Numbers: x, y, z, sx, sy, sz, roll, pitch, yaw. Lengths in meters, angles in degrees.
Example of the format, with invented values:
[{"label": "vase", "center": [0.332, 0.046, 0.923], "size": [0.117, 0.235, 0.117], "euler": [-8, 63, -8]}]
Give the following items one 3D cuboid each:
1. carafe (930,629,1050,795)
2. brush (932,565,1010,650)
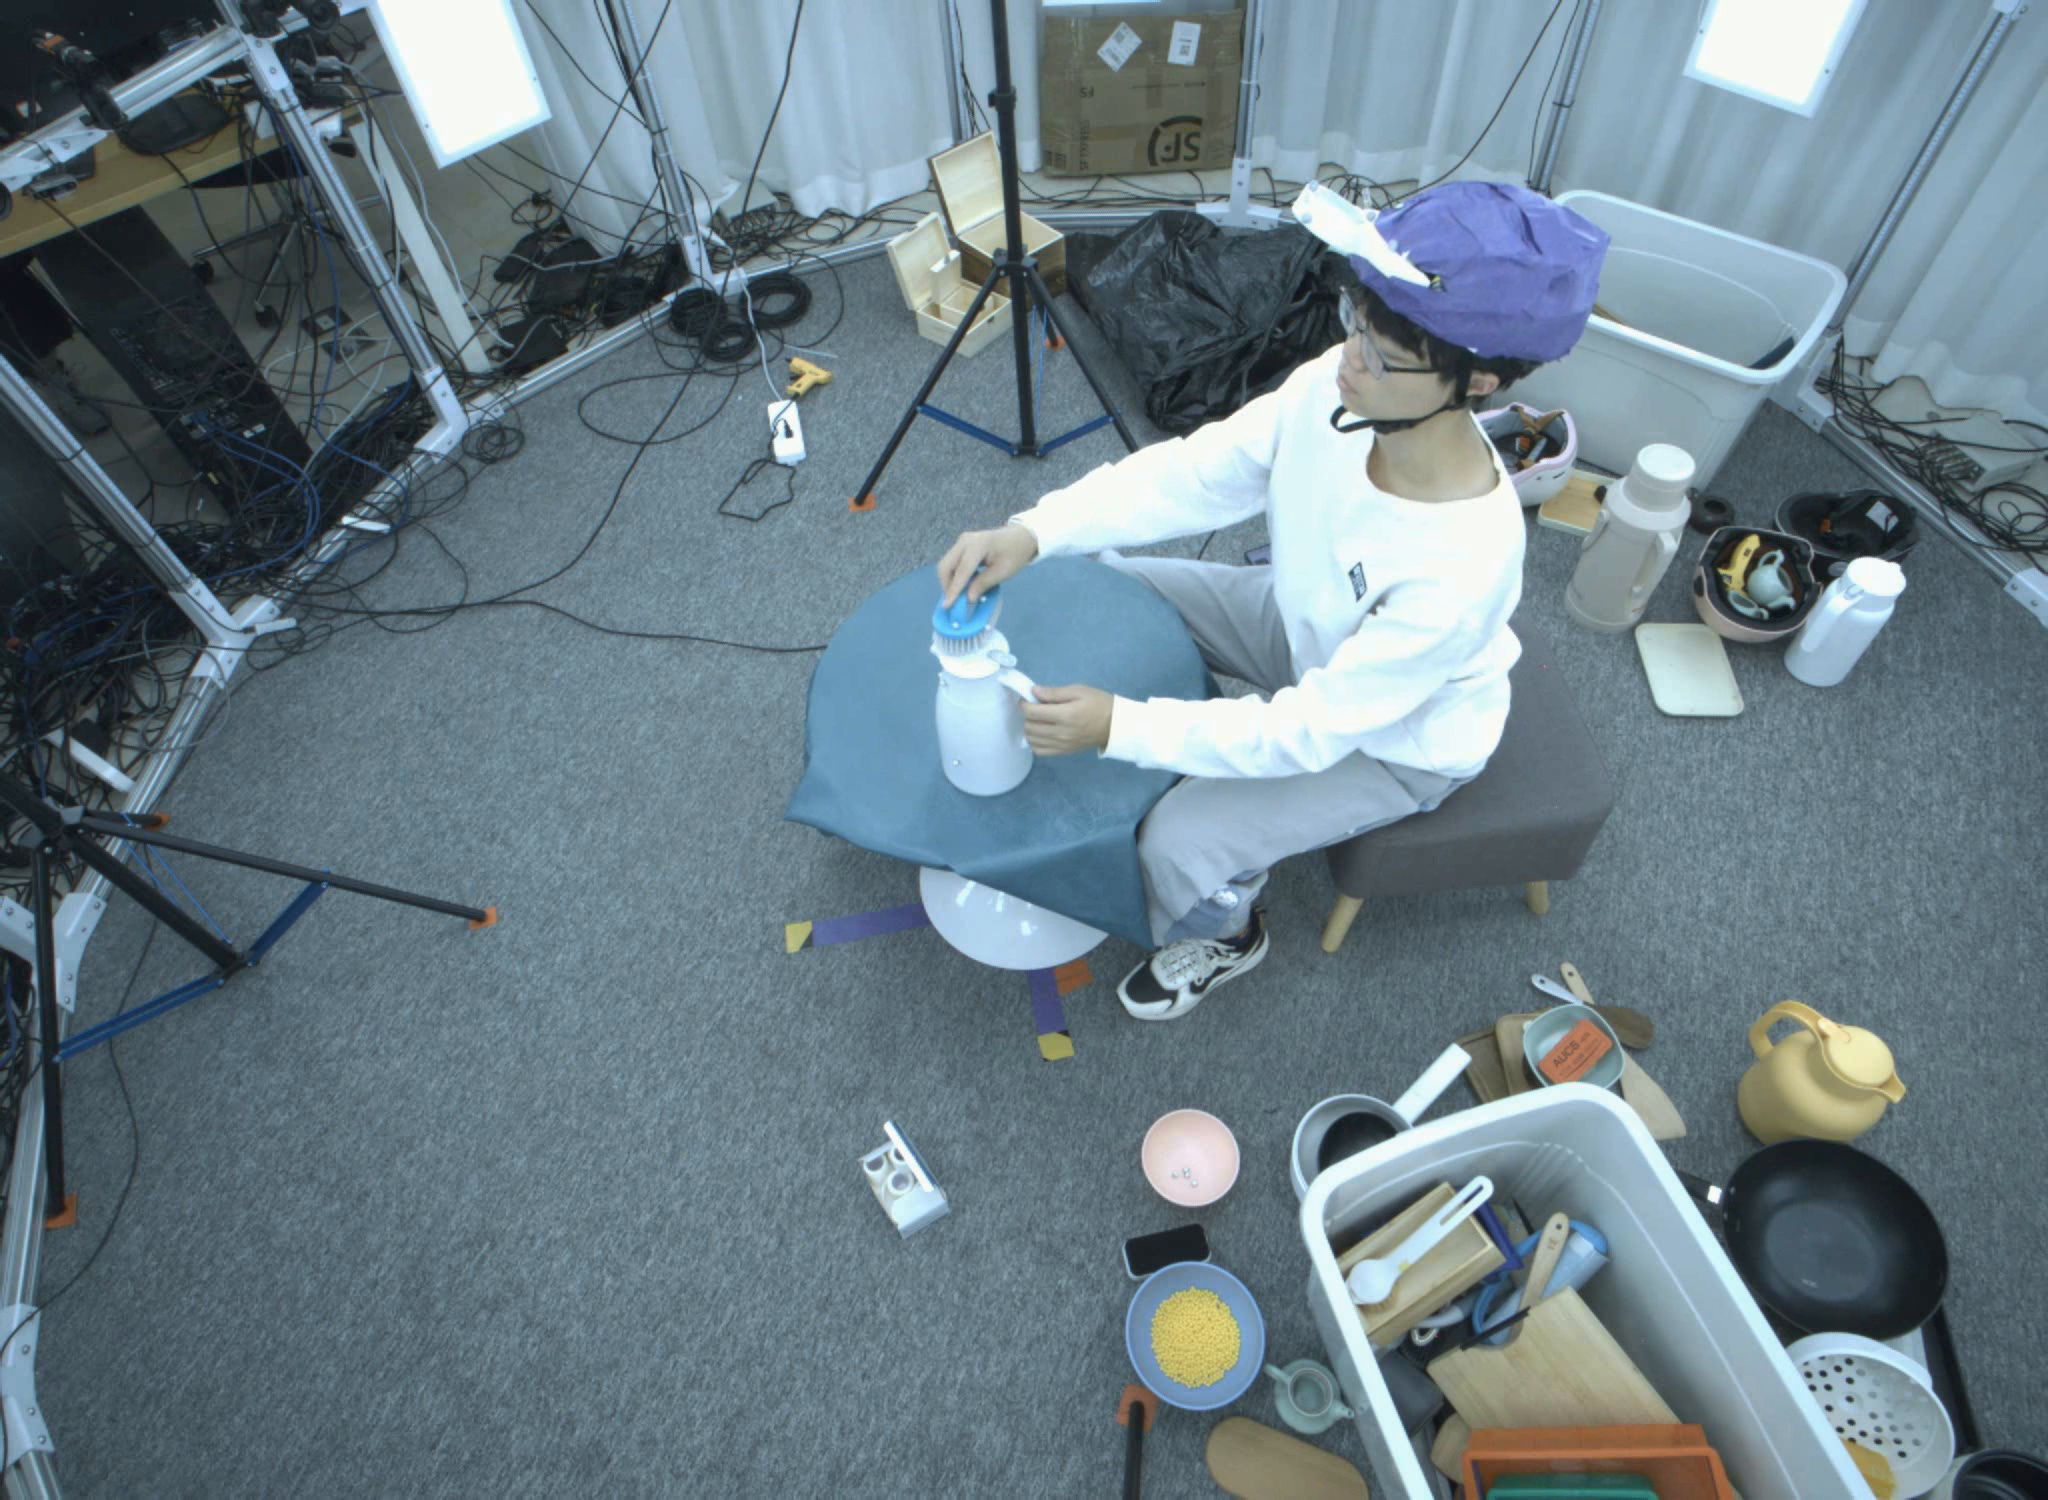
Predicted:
[{"label": "carafe", "center": [-0.042, -0.056, 1.671], "size": [0.166, 0.251, 0.132], "euler": [20, 58, 16]}, {"label": "brush", "center": [-0.070, -0.195, 1.586], "size": [0.083, 0.064, 0.141], "euler": [7, 44, 13]}]
